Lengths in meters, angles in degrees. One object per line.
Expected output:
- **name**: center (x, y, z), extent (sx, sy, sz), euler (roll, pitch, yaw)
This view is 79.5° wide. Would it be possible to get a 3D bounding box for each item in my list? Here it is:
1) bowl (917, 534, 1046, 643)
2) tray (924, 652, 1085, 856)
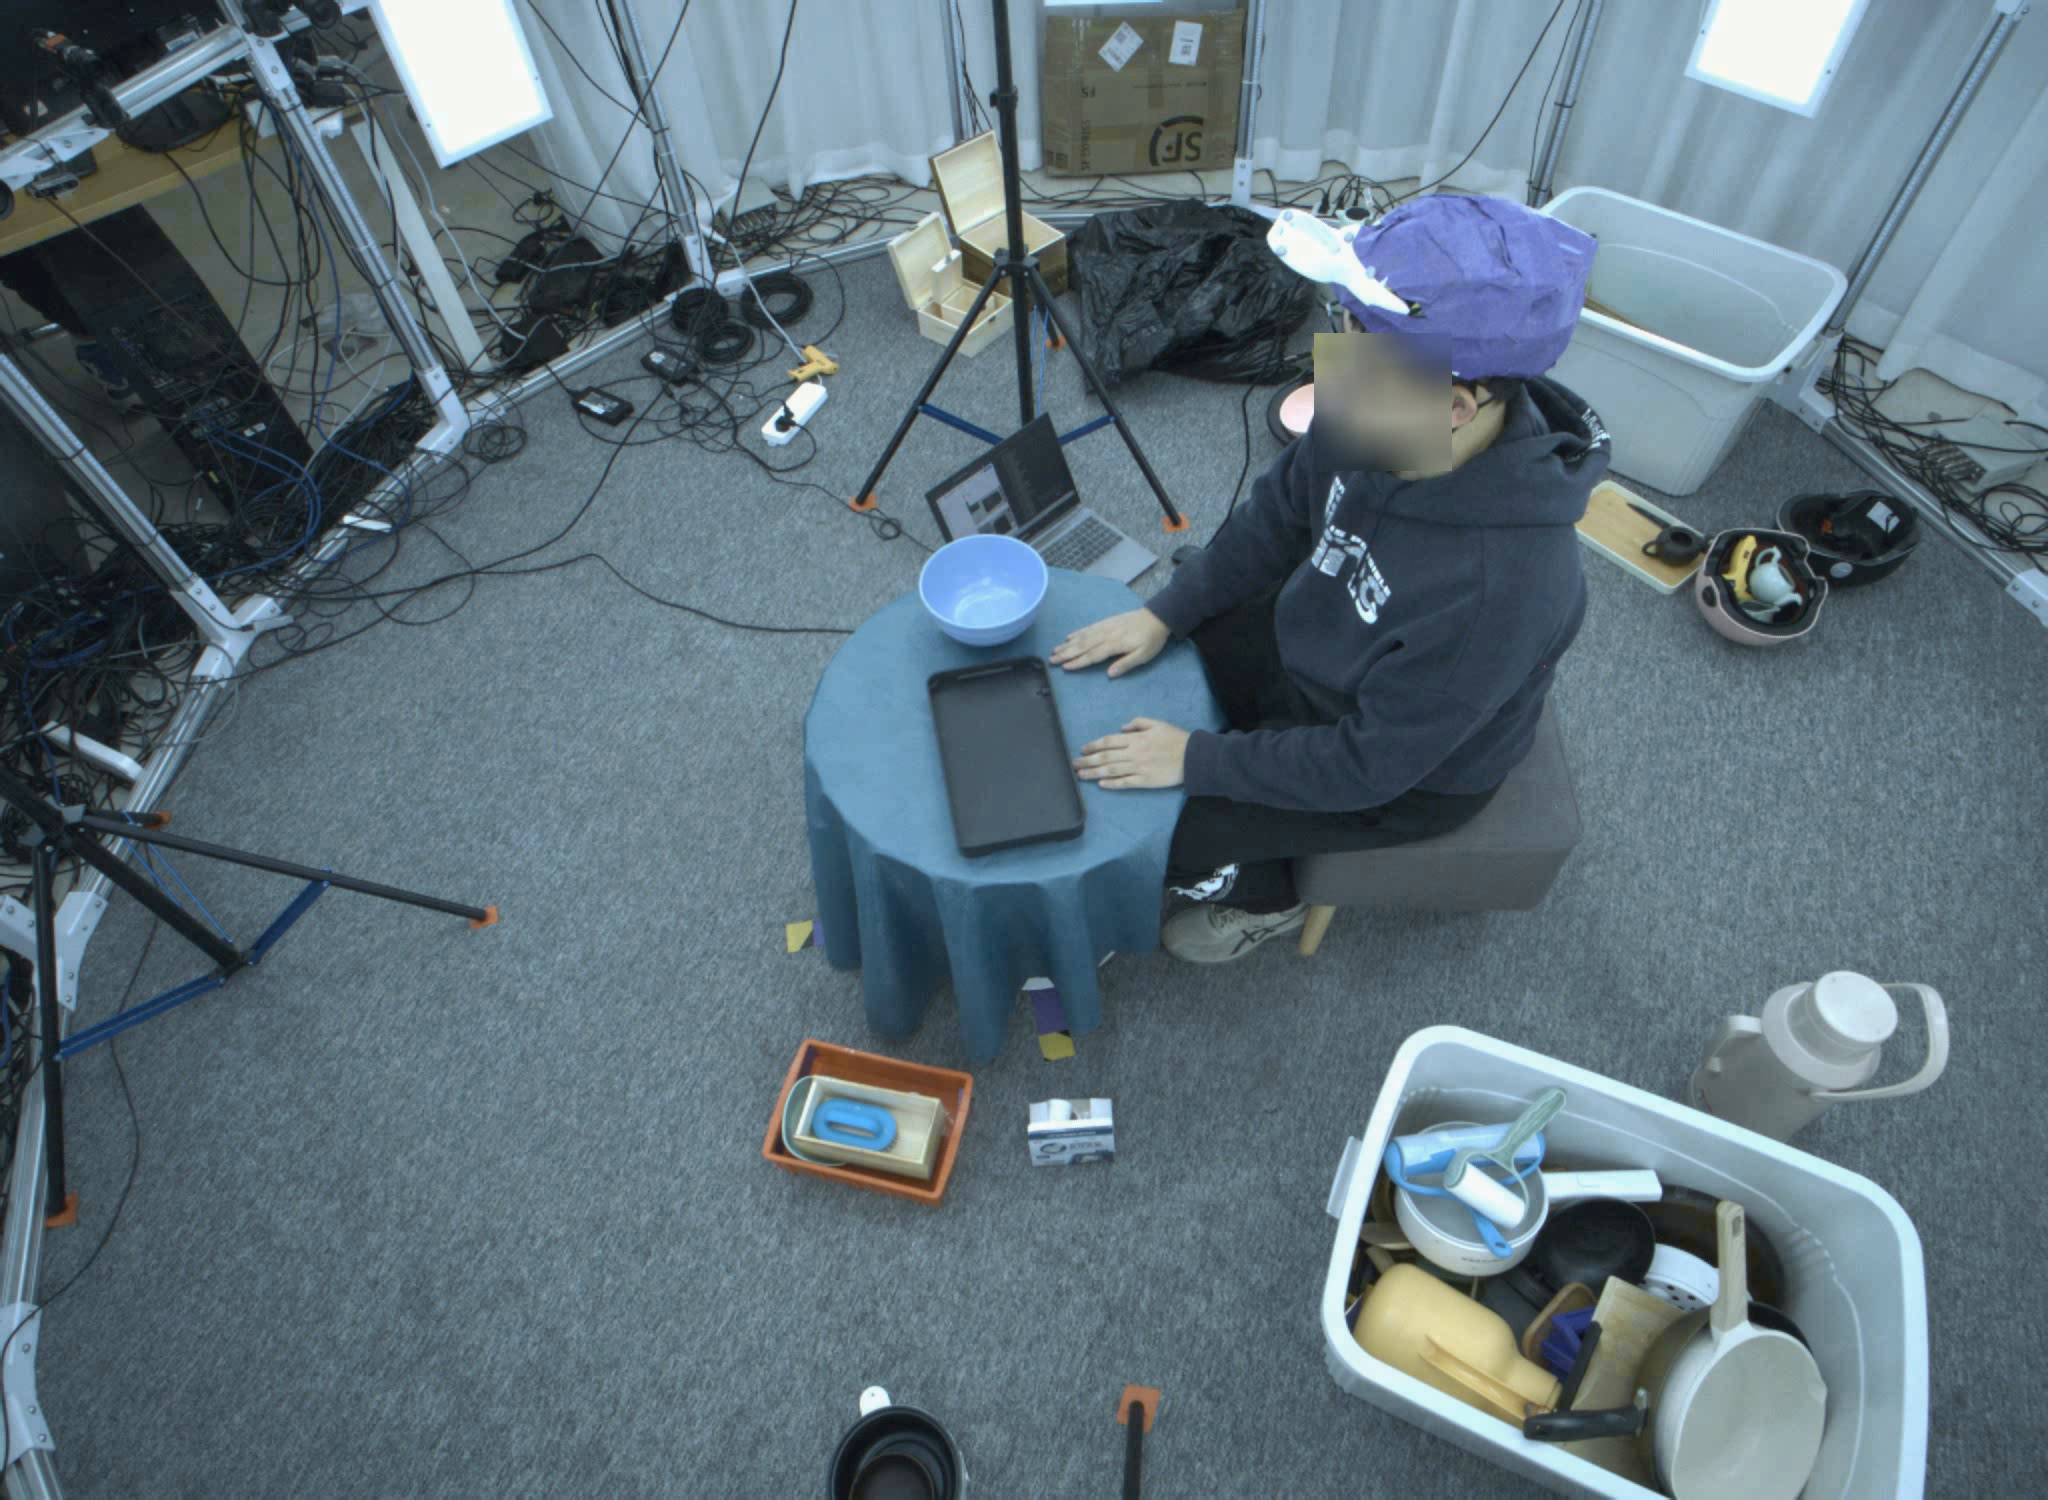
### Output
- **bowl**: center (-0.062, -0.234, 1.893), extent (0.196, 0.096, 0.194), euler (-1, 53, 3)
- **tray**: center (-0.032, 0.000, 1.765), extent (0.185, 0.037, 0.313), euler (-10, 55, -6)
